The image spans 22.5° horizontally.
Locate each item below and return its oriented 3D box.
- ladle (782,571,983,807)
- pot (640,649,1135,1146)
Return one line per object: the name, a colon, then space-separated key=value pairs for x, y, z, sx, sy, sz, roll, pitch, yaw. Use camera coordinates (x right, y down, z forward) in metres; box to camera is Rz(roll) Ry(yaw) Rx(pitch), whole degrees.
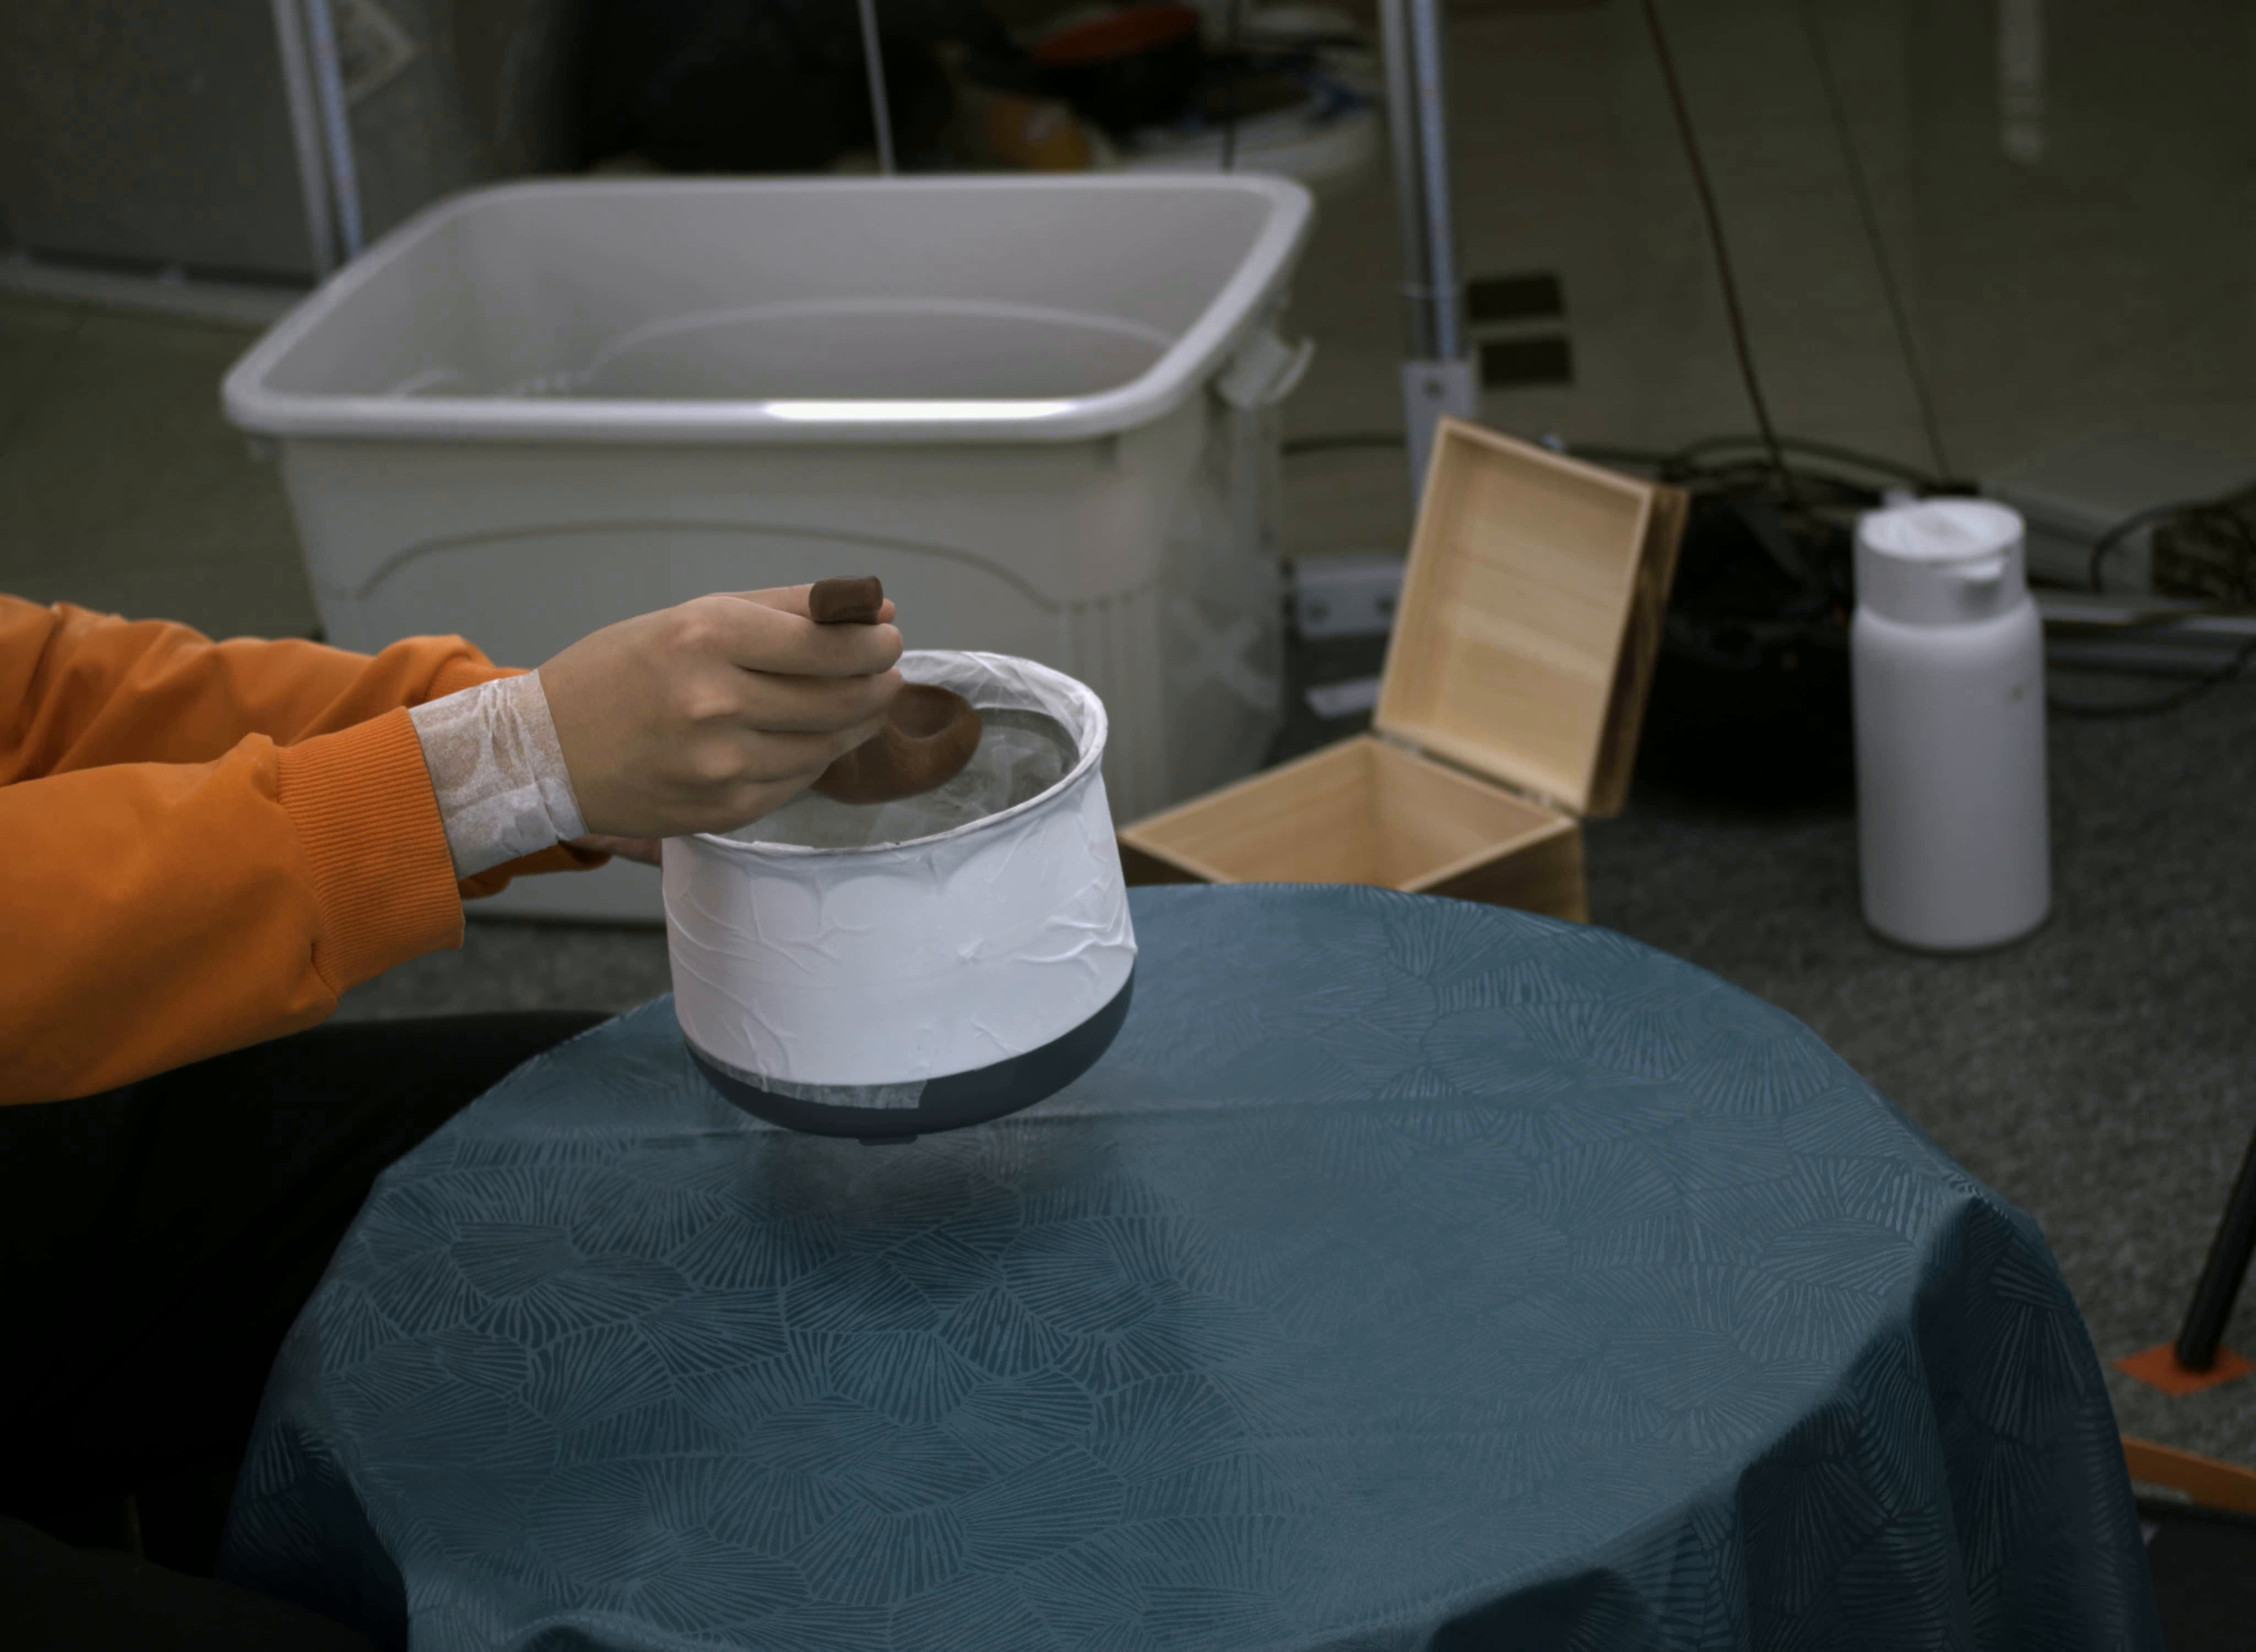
ladle: x=-0.097 y=-0.062 z=2.041 sx=0.076 sy=0.263 sz=0.064 roll=-17 pitch=72 yaw=-3
pot: x=-0.106 y=0.020 z=2.162 sx=0.177 sy=0.139 sz=0.231 roll=-25 pitch=31 yaw=-33
